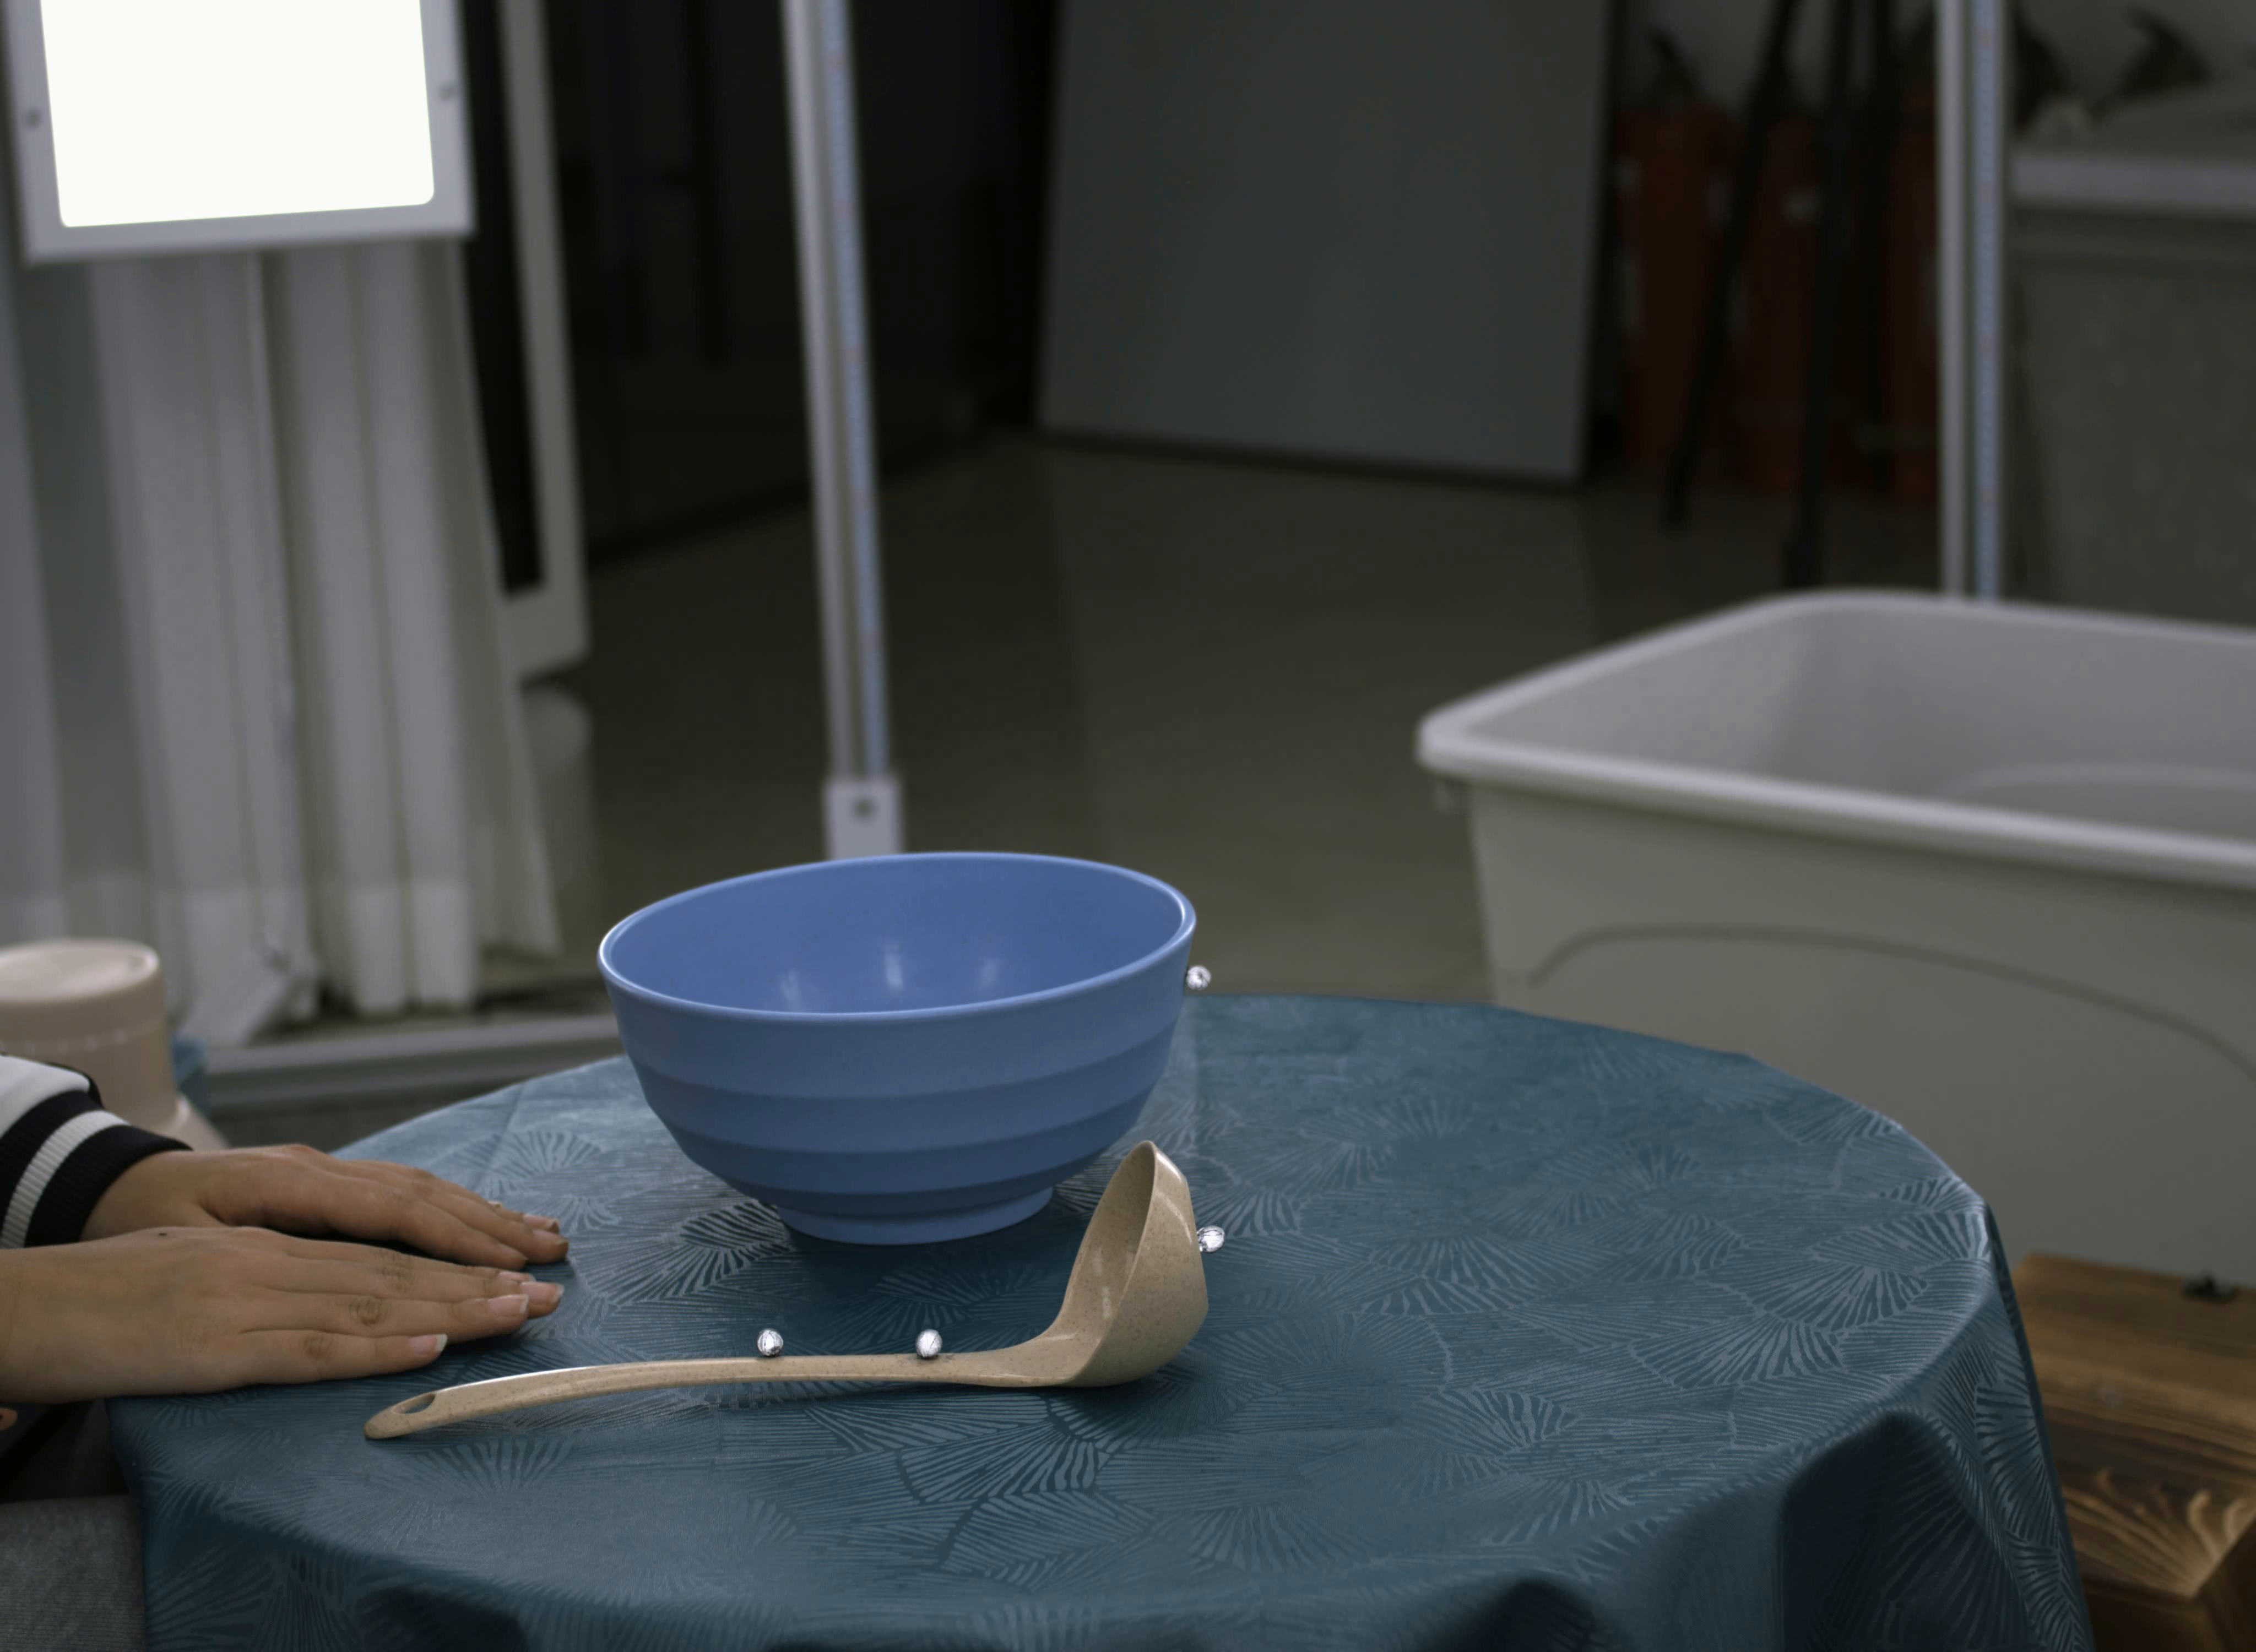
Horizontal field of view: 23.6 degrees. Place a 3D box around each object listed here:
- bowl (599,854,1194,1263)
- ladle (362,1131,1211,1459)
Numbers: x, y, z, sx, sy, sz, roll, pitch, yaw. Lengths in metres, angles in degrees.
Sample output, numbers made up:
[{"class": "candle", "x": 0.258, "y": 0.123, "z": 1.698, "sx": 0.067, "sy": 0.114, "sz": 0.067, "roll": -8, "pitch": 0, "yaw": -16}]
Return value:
[{"class": "bowl", "x": -0.072, "y": 0.082, "z": 1.765, "sx": 0.194, "sy": 0.096, "sz": 0.197, "roll": -5, "pitch": 15, "yaw": 0}, {"class": "ladle", "x": -0.102, "y": 0.137, "z": 1.583, "sx": 0.250, "sy": 0.073, "sz": 0.072, "roll": -5, "pitch": 20, "yaw": -3}]
